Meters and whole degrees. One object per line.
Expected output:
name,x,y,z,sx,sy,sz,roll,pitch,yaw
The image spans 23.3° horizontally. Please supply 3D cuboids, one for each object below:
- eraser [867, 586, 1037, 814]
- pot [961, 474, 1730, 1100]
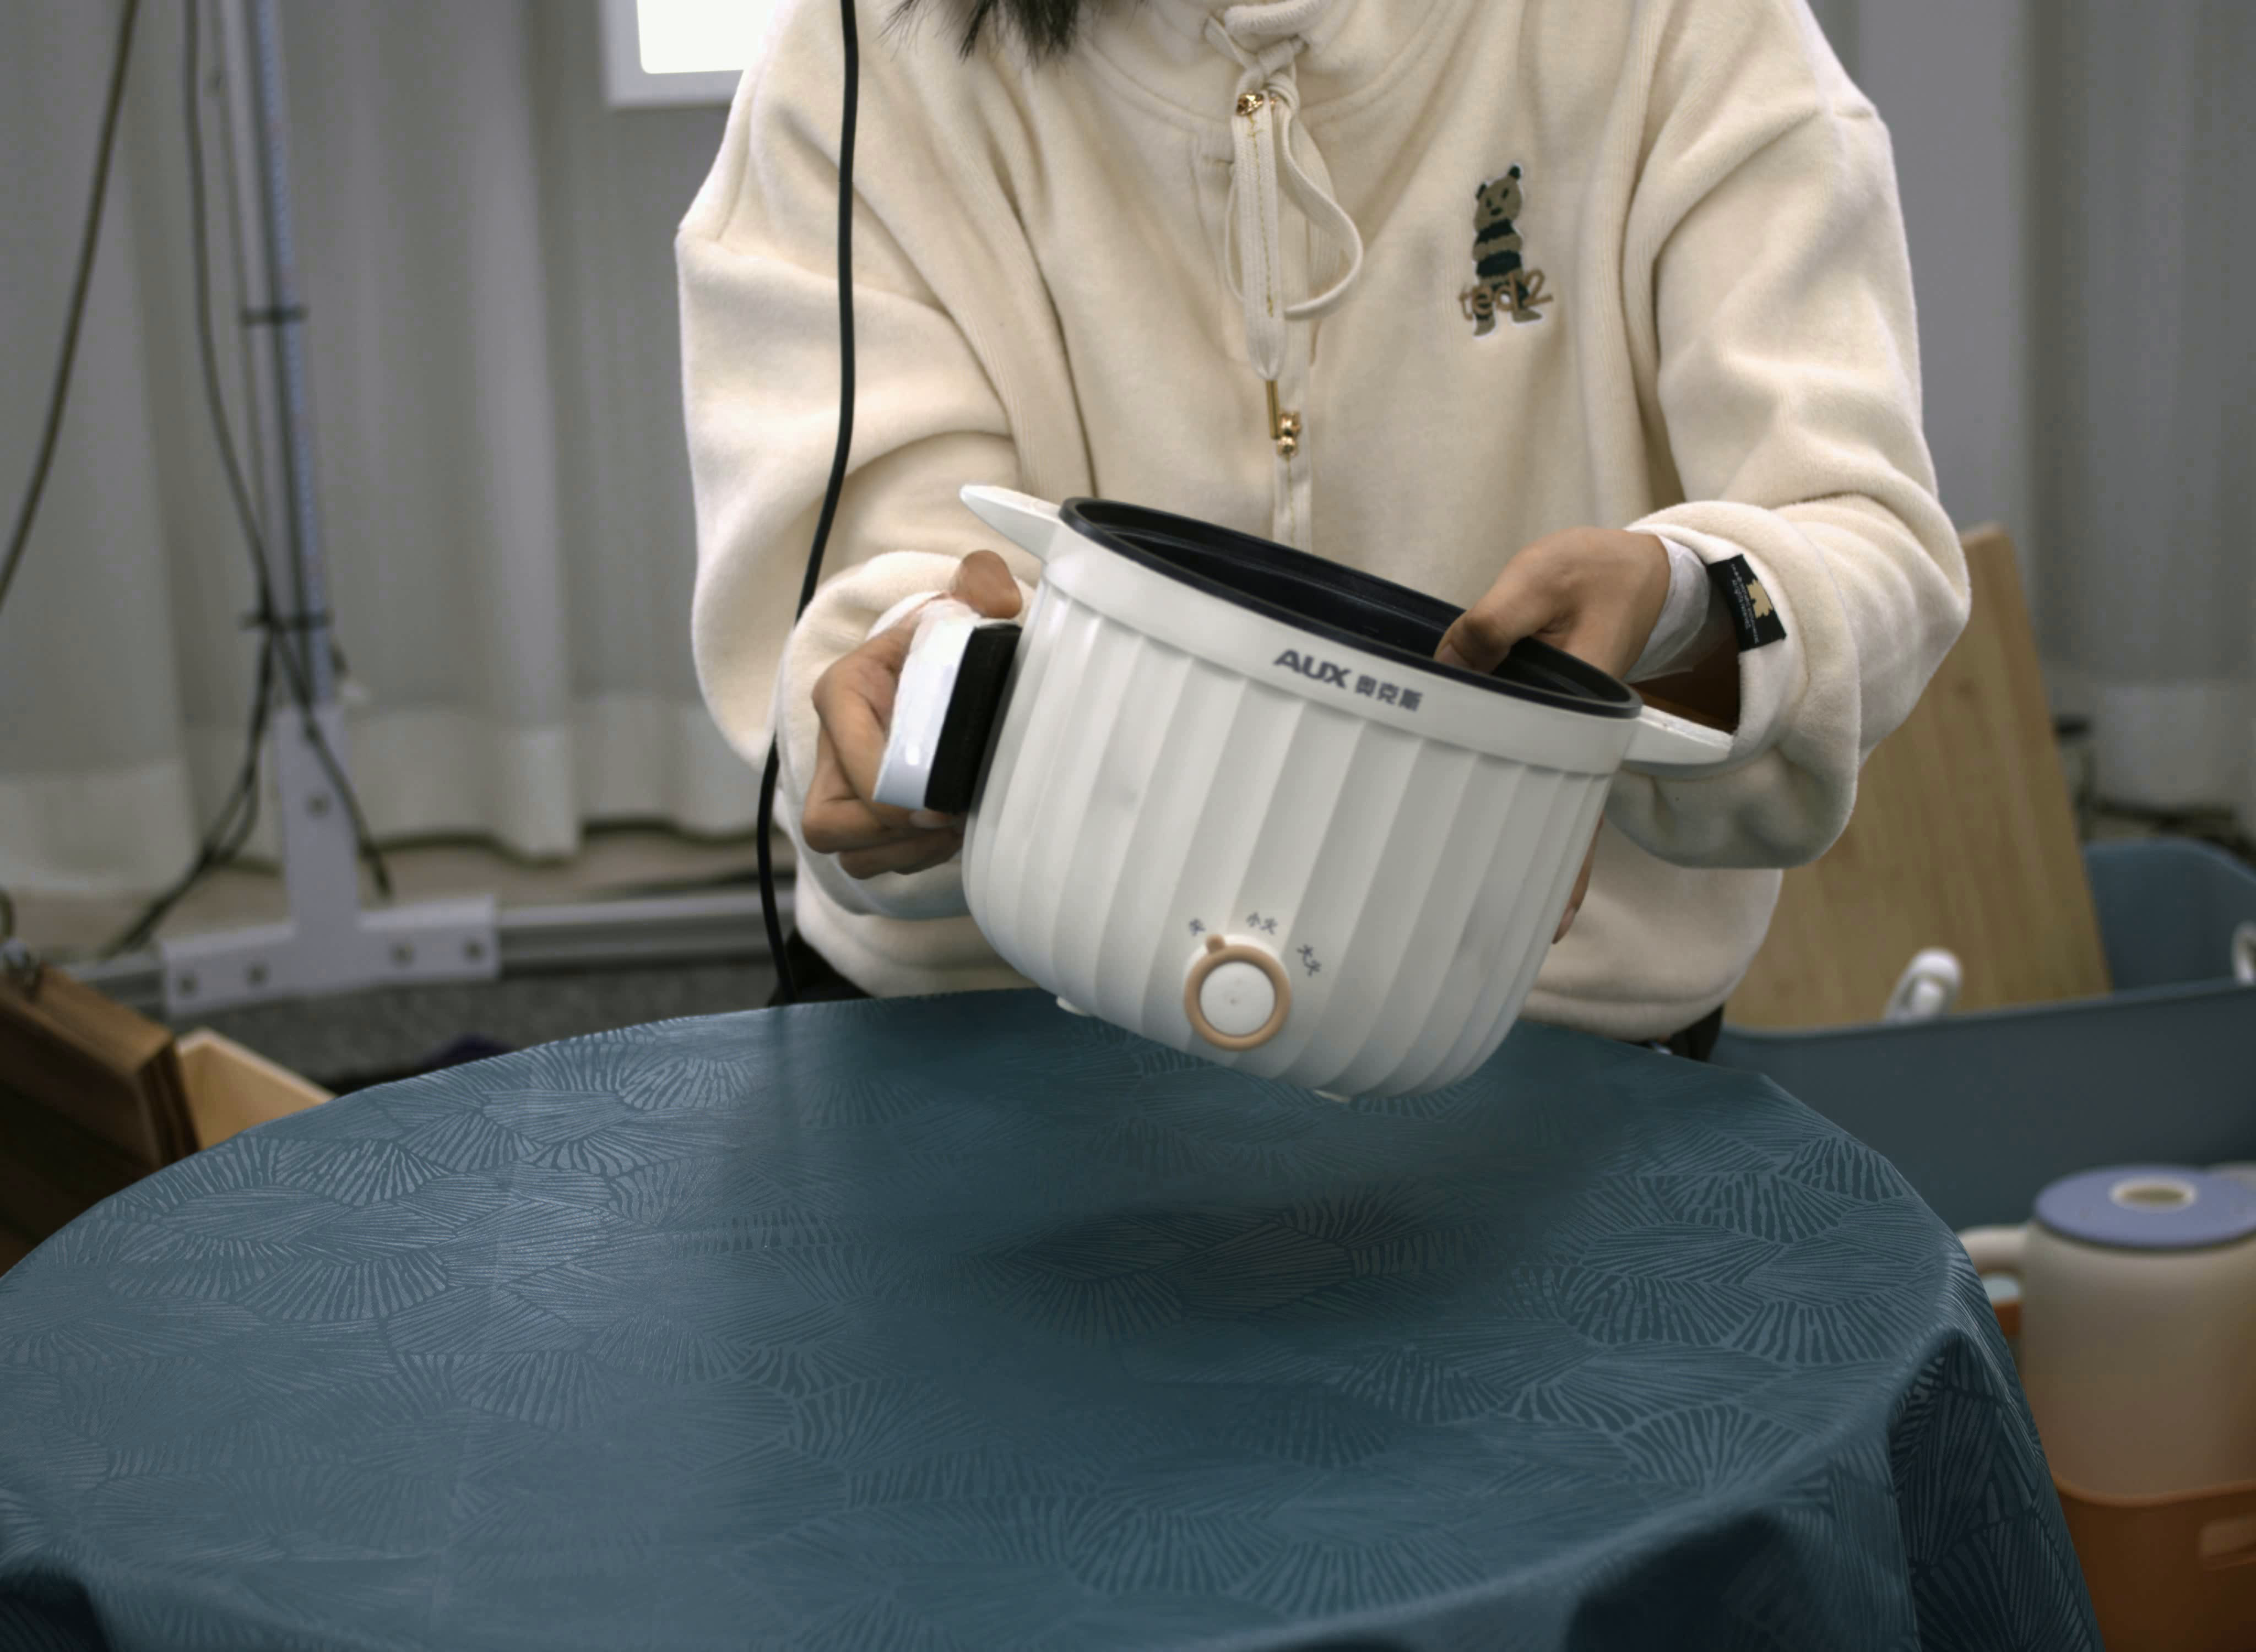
eraser,-0.052,-0.037,1.647,0.034,0.063,0.131,19,3,4
pot,0.045,-0.004,1.609,0.239,0.143,0.191,18,5,-2
